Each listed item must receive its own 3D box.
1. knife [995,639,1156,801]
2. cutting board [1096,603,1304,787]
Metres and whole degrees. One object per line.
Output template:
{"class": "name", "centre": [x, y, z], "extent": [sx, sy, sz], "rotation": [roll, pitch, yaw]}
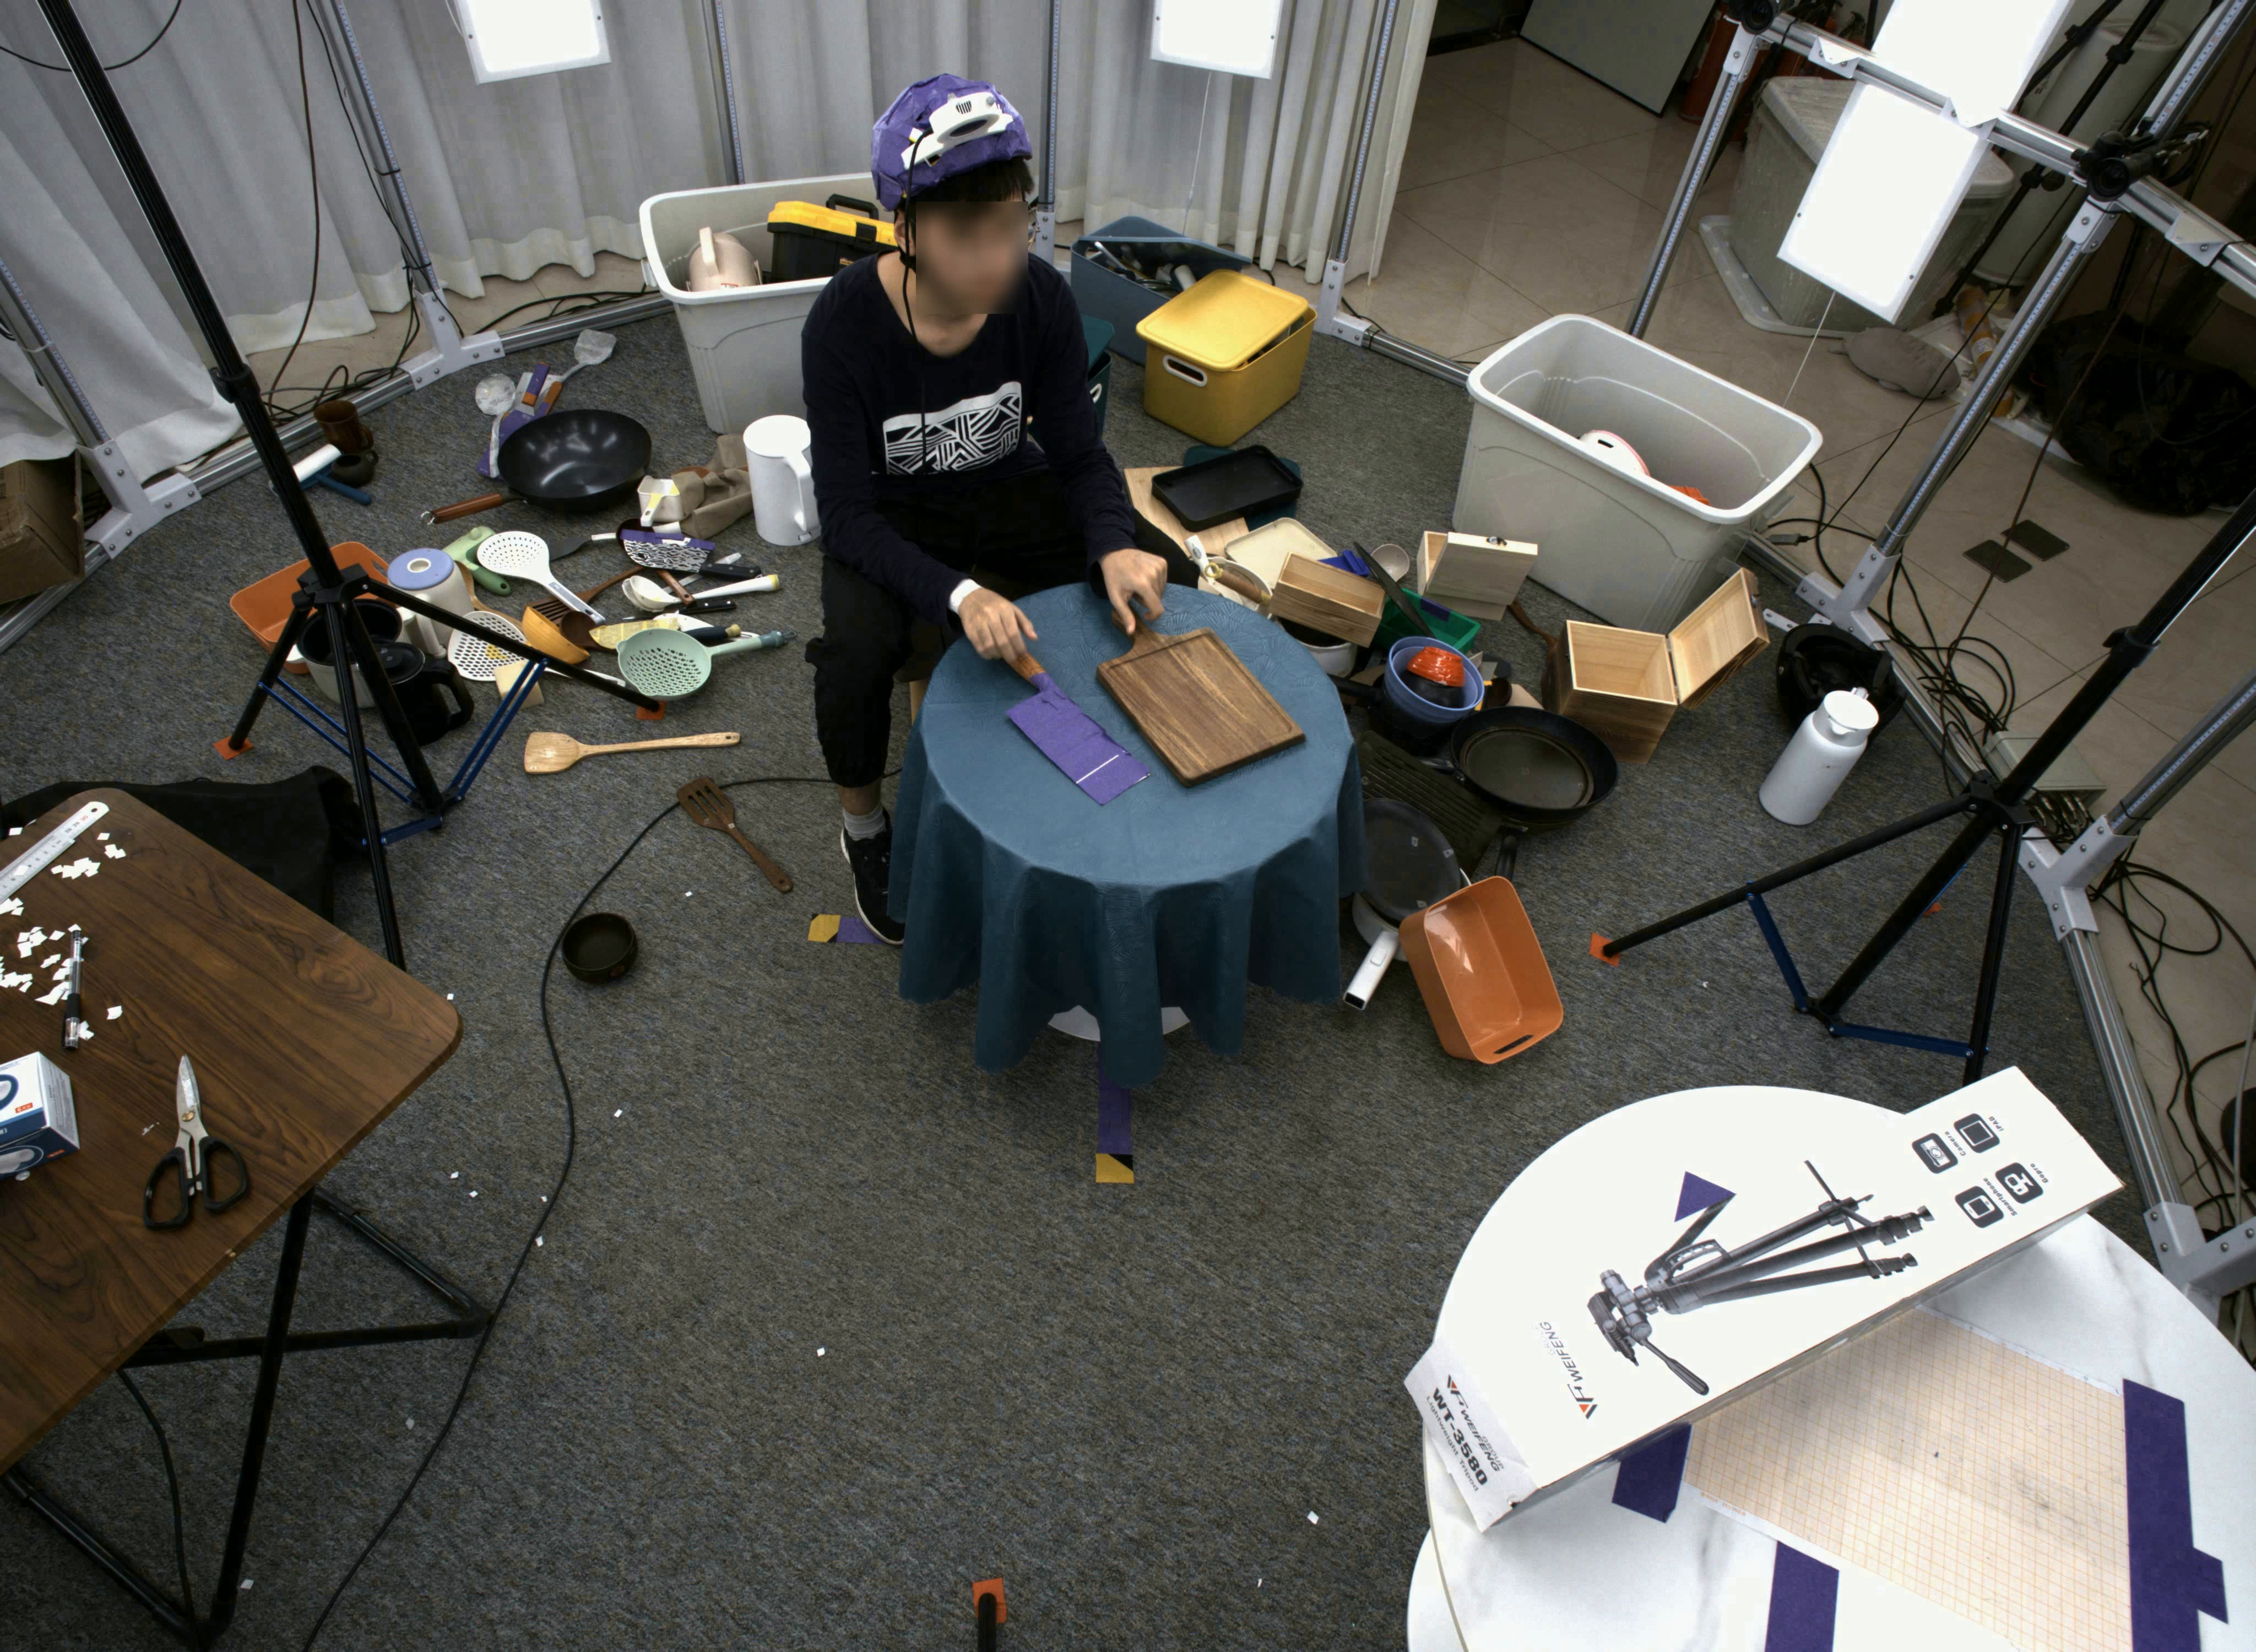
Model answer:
{"class": "knife", "centre": [-0.101, -0.150, 1.773], "extent": [0.104, 0.031, 0.320], "rotation": [-32, 58, -28]}
{"class": "cutting board", "centre": [0.075, -0.209, 1.840], "extent": [0.201, 0.022, 0.359], "rotation": [-22, 54, -21]}
